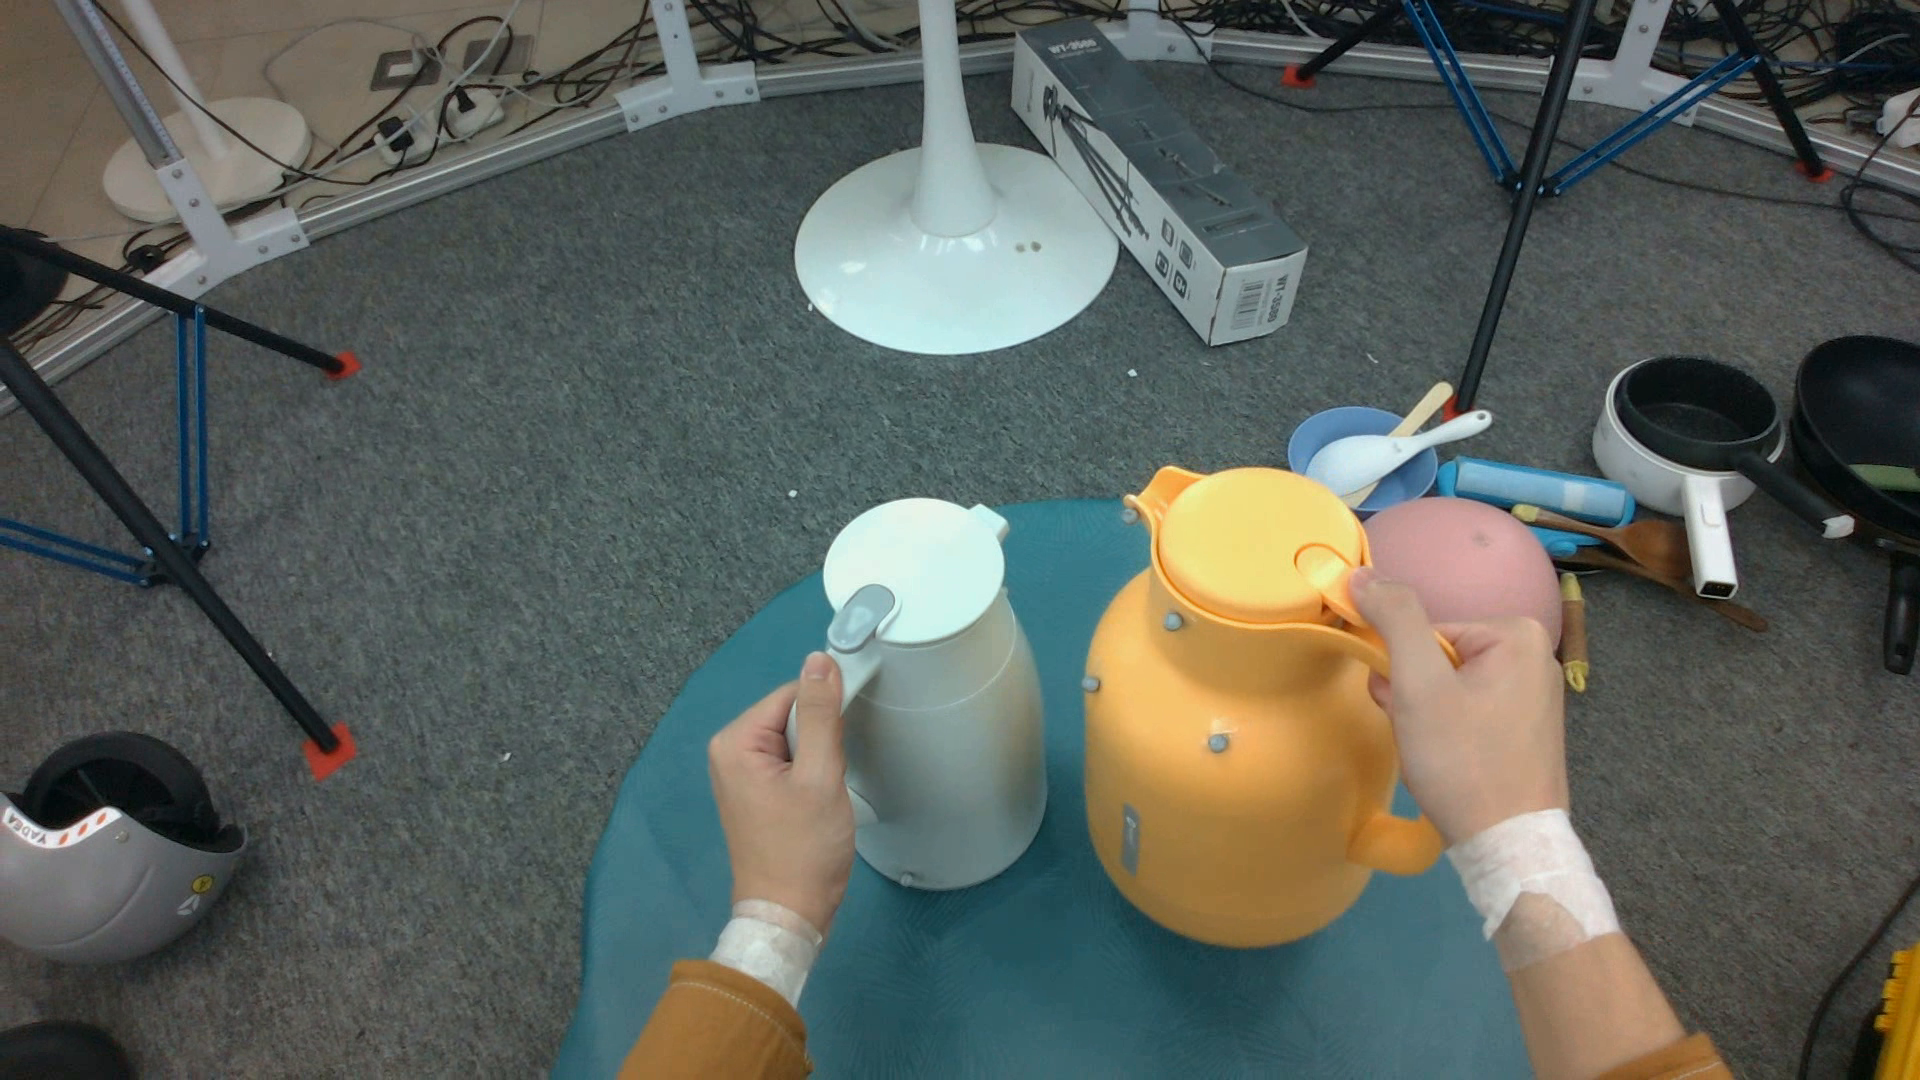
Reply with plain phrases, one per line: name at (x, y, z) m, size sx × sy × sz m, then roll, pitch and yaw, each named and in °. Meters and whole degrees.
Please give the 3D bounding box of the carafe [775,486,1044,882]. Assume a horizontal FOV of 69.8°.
carafe at (-0.031, 0.092, 0.768) m, size 0.132 × 0.247 × 0.168 m, roll 32°, pitch 60°, yaw 25°

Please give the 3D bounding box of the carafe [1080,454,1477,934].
carafe at (0.154, 0.087, 0.690) m, size 0.164 × 0.259 × 0.202 m, roll -36°, pitch 51°, yaw -23°
